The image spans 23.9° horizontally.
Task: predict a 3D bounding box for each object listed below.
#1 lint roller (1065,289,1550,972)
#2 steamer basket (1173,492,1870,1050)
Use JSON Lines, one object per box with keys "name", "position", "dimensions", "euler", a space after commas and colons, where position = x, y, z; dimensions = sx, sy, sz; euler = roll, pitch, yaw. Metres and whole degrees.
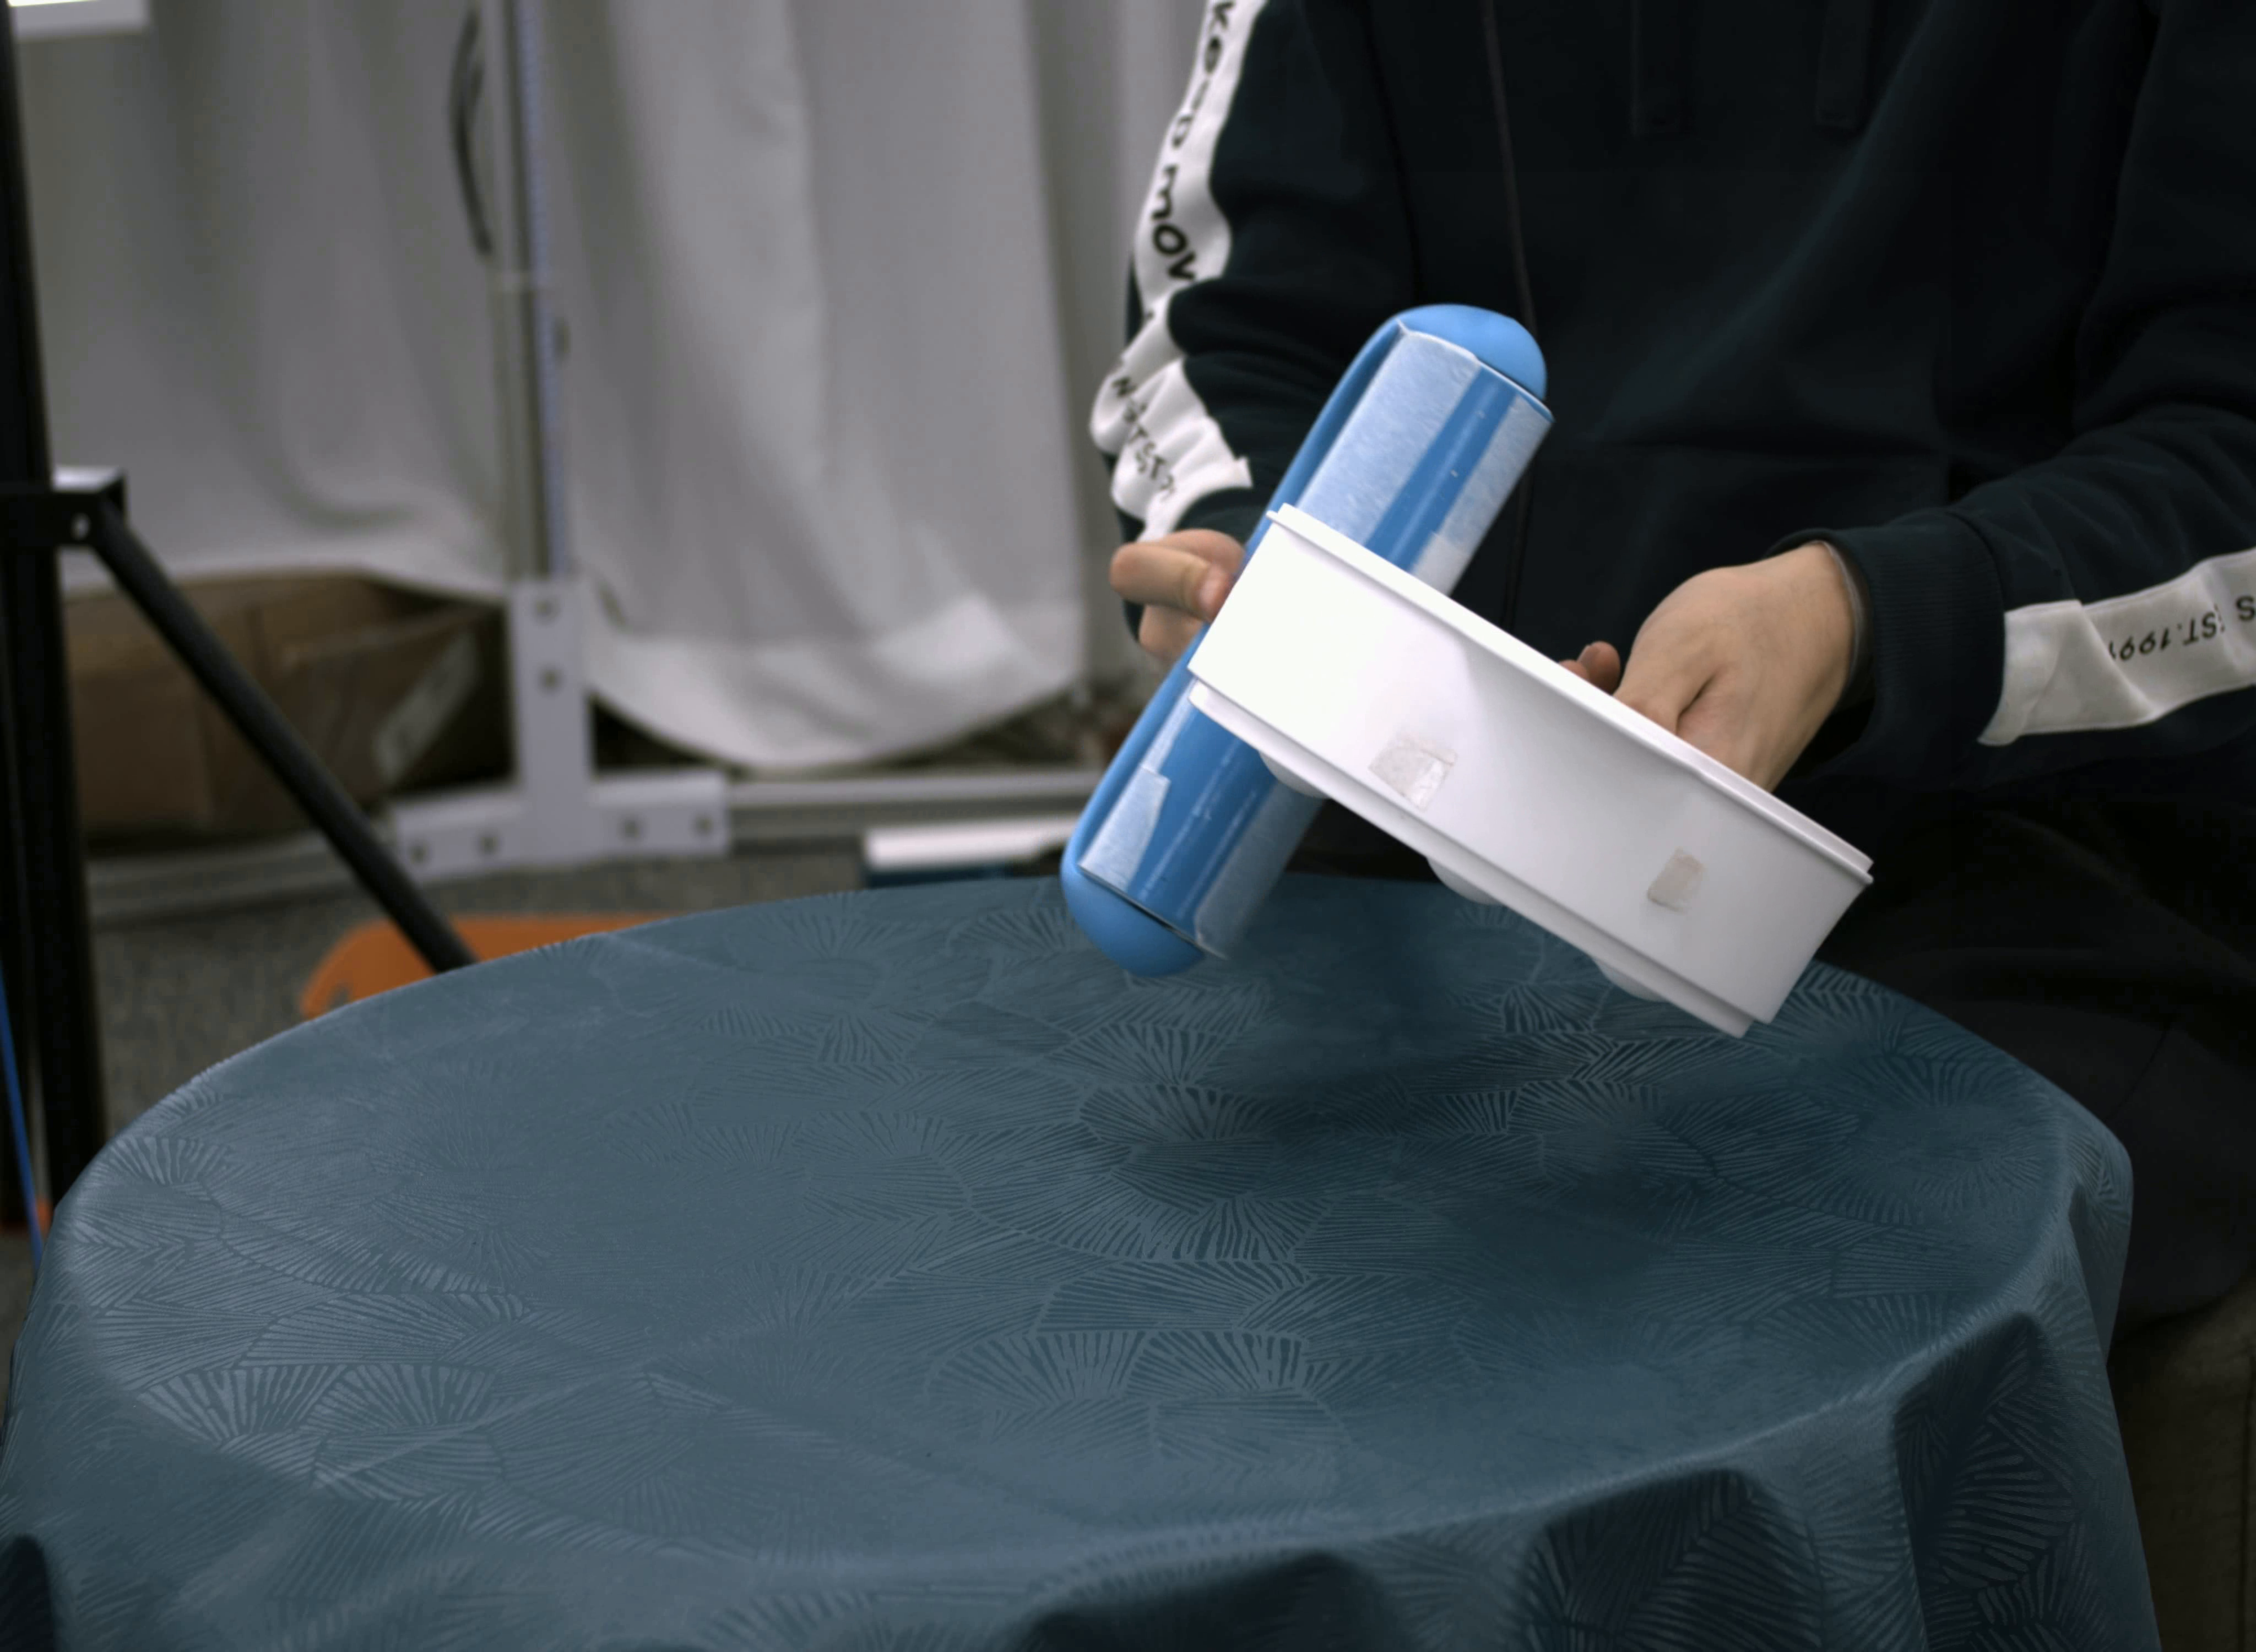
{"name": "lint roller", "position": [0.054, -0.054, 1.659], "dimensions": [0.068, 0.229, 0.180], "euler": [29, -5, 1]}
{"name": "steamer basket", "position": [0.109, -0.012, 1.493], "dimensions": [0.202, 0.069, 0.230], "euler": [33, 2, 2]}
